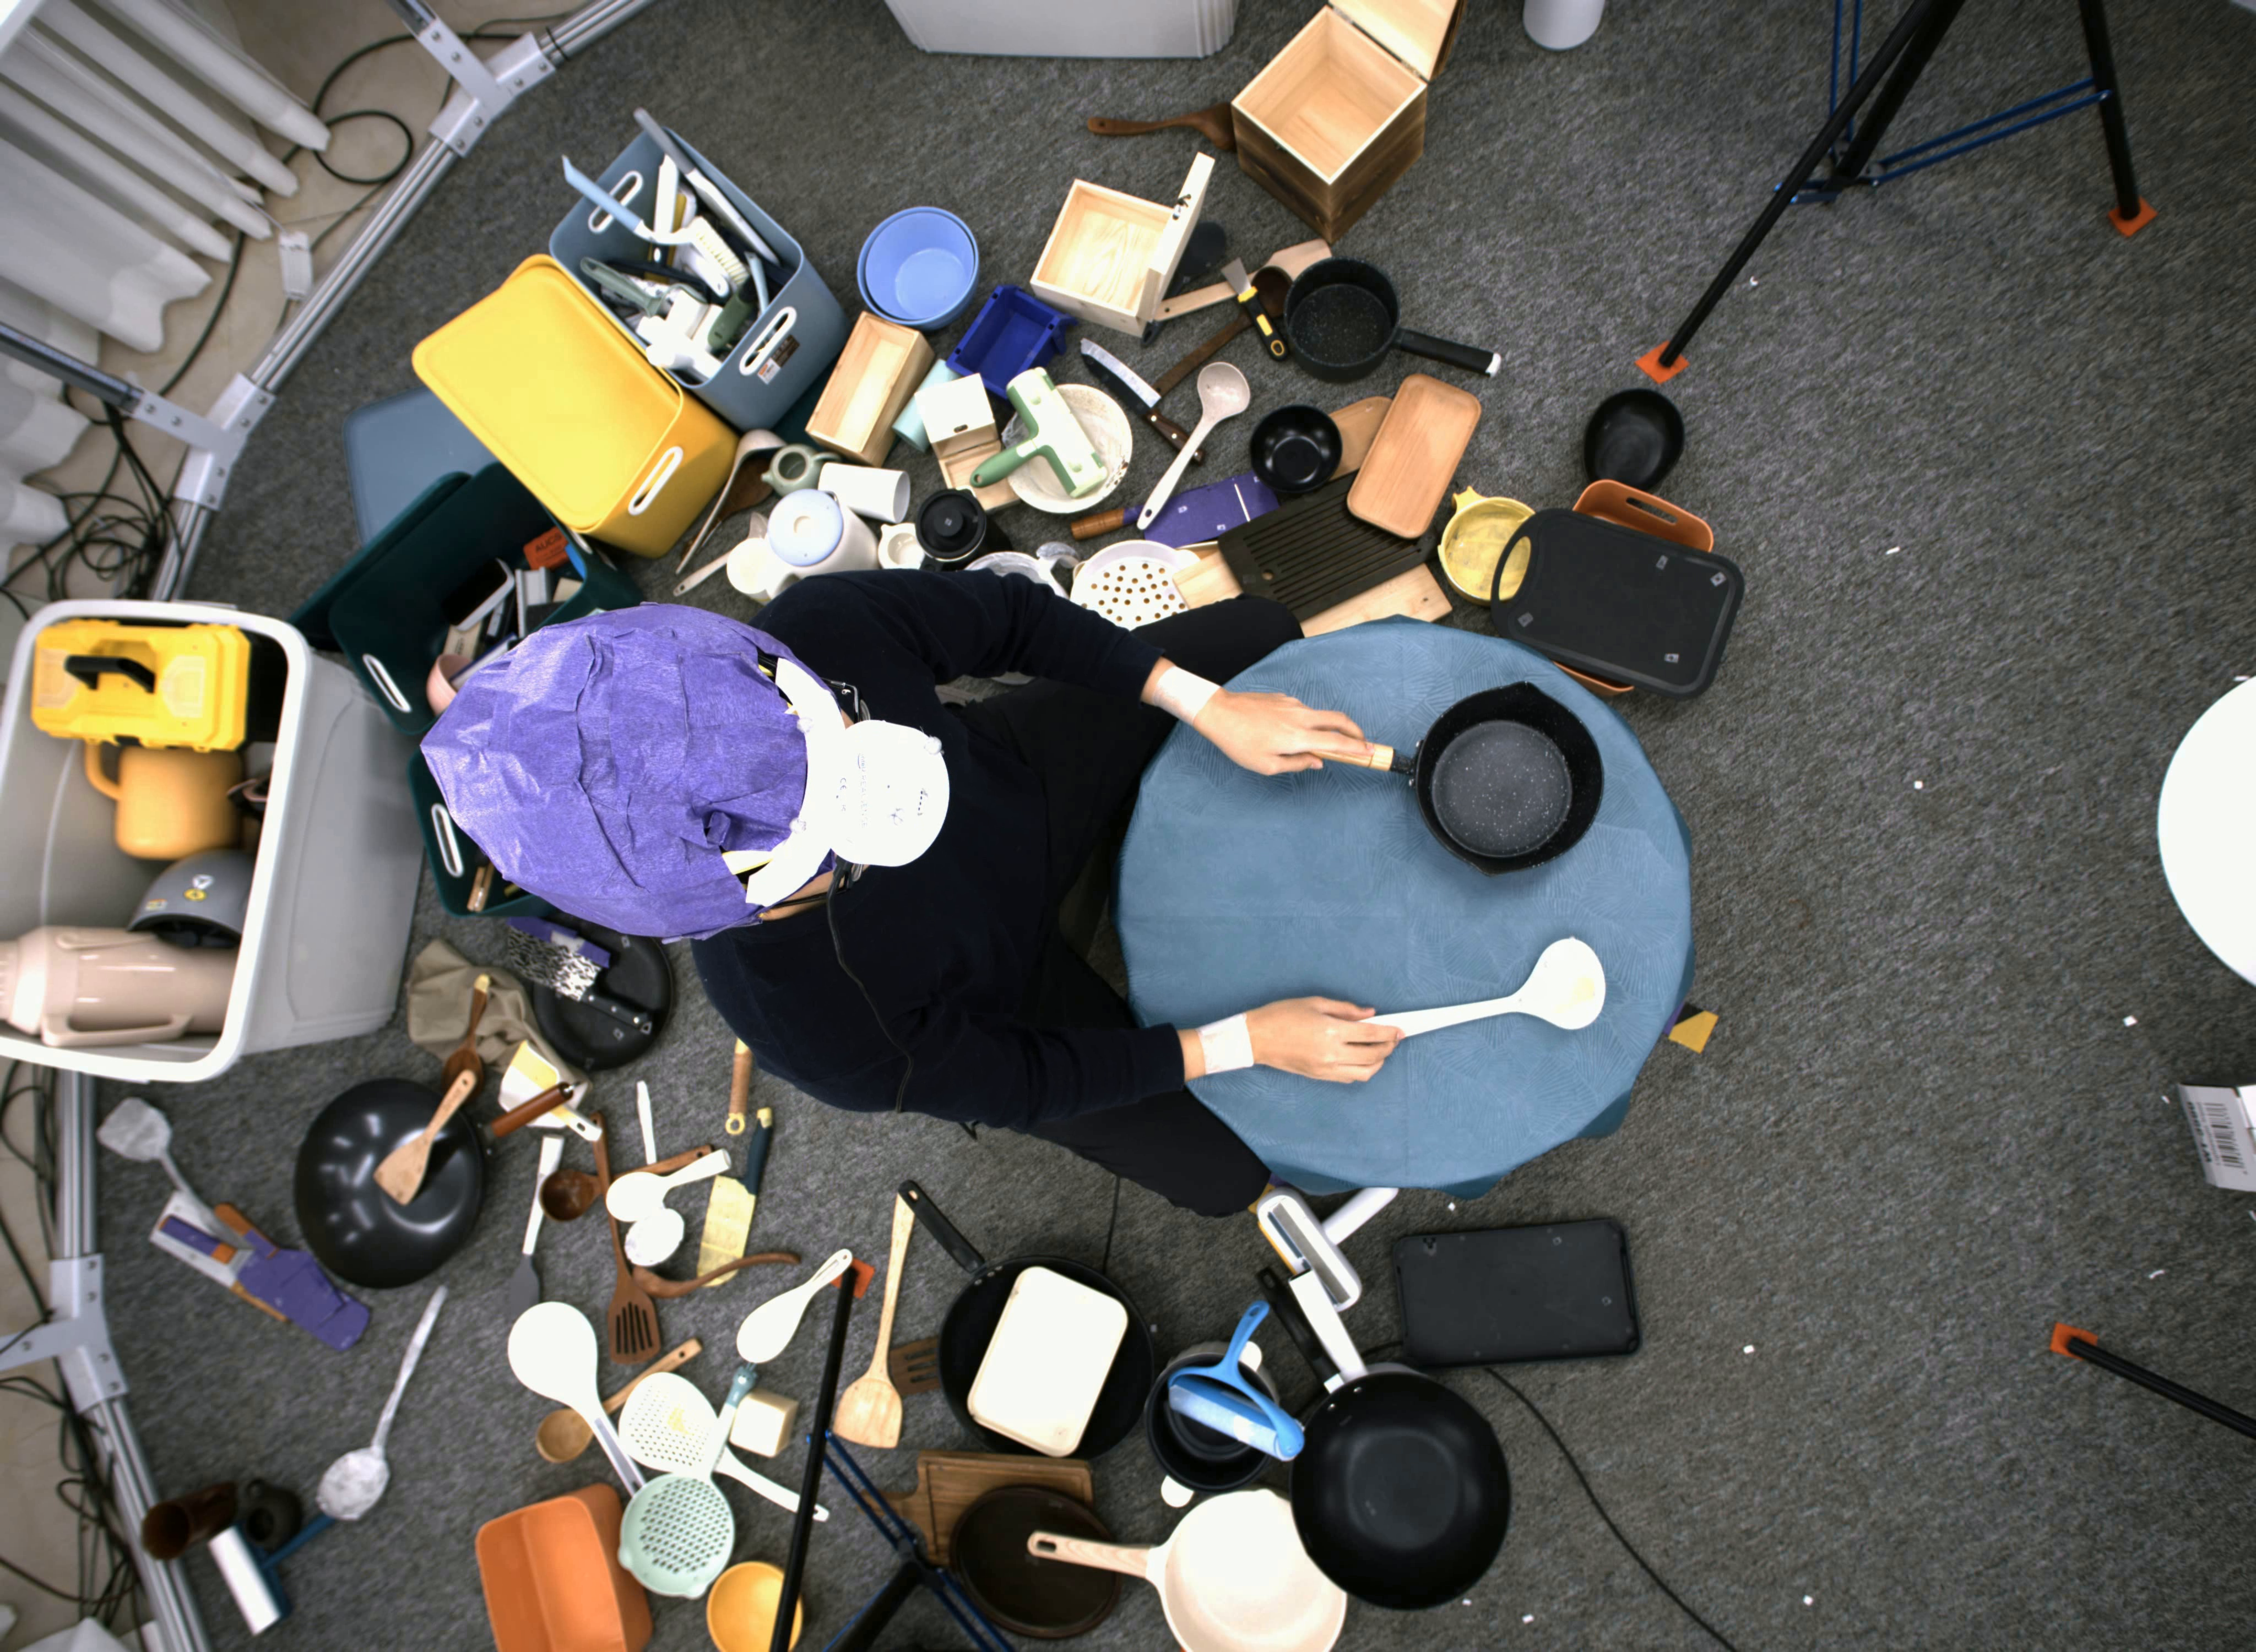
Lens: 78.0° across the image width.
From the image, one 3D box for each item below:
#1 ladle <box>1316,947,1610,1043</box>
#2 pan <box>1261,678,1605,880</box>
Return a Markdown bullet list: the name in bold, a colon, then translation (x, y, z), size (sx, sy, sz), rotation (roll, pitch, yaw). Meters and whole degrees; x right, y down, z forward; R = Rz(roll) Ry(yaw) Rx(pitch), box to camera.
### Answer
- **ladle**: translation (0.338, 0.182, 1.407), size (0.294, 0.070, 0.089), rotation (-8, 74, 7)
- **pan**: translation (0.306, -0.059, 1.406), size (0.343, 0.108, 0.207), rotation (9, 89, 10)
